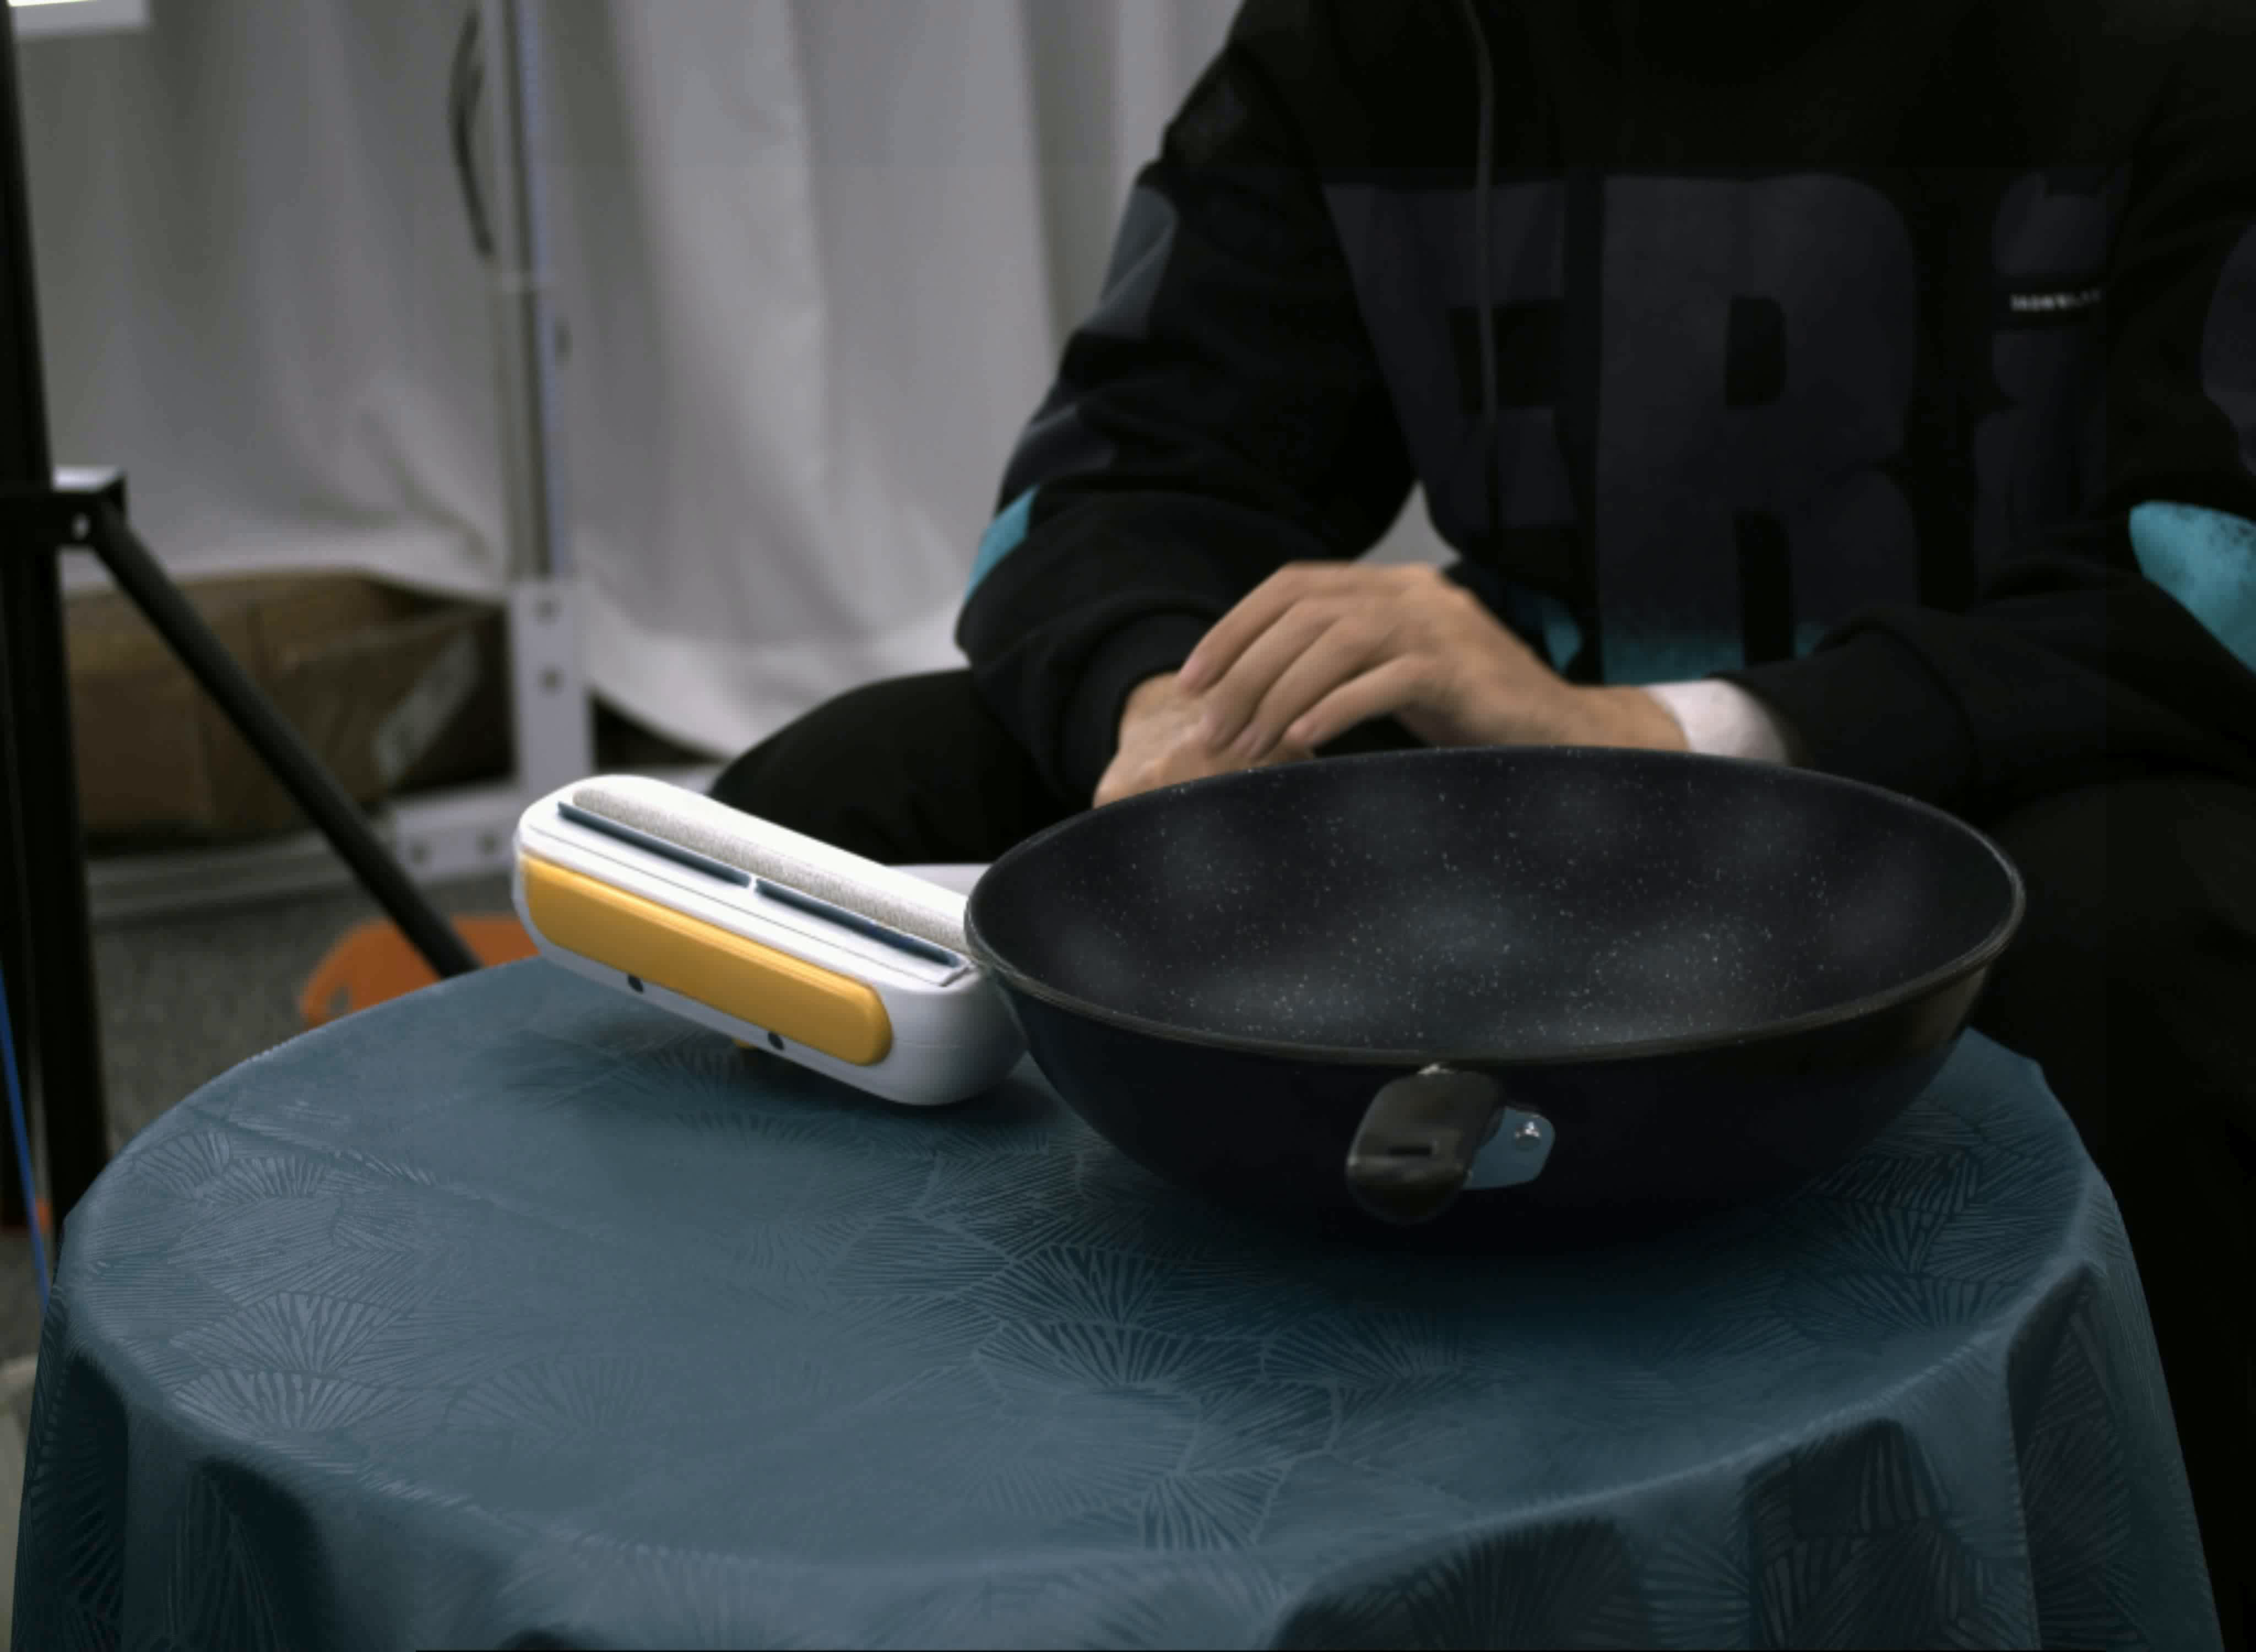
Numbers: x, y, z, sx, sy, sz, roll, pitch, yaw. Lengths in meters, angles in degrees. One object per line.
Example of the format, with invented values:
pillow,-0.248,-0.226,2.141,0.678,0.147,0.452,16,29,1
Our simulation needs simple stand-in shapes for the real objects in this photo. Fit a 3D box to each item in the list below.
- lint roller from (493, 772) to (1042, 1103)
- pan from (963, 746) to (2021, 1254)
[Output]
lint roller,-0.082,0.028,1.730,0.197,0.074,0.188,17,22,38
pan,0.097,0.070,1.481,0.311,0.111,0.476,-2,15,9
